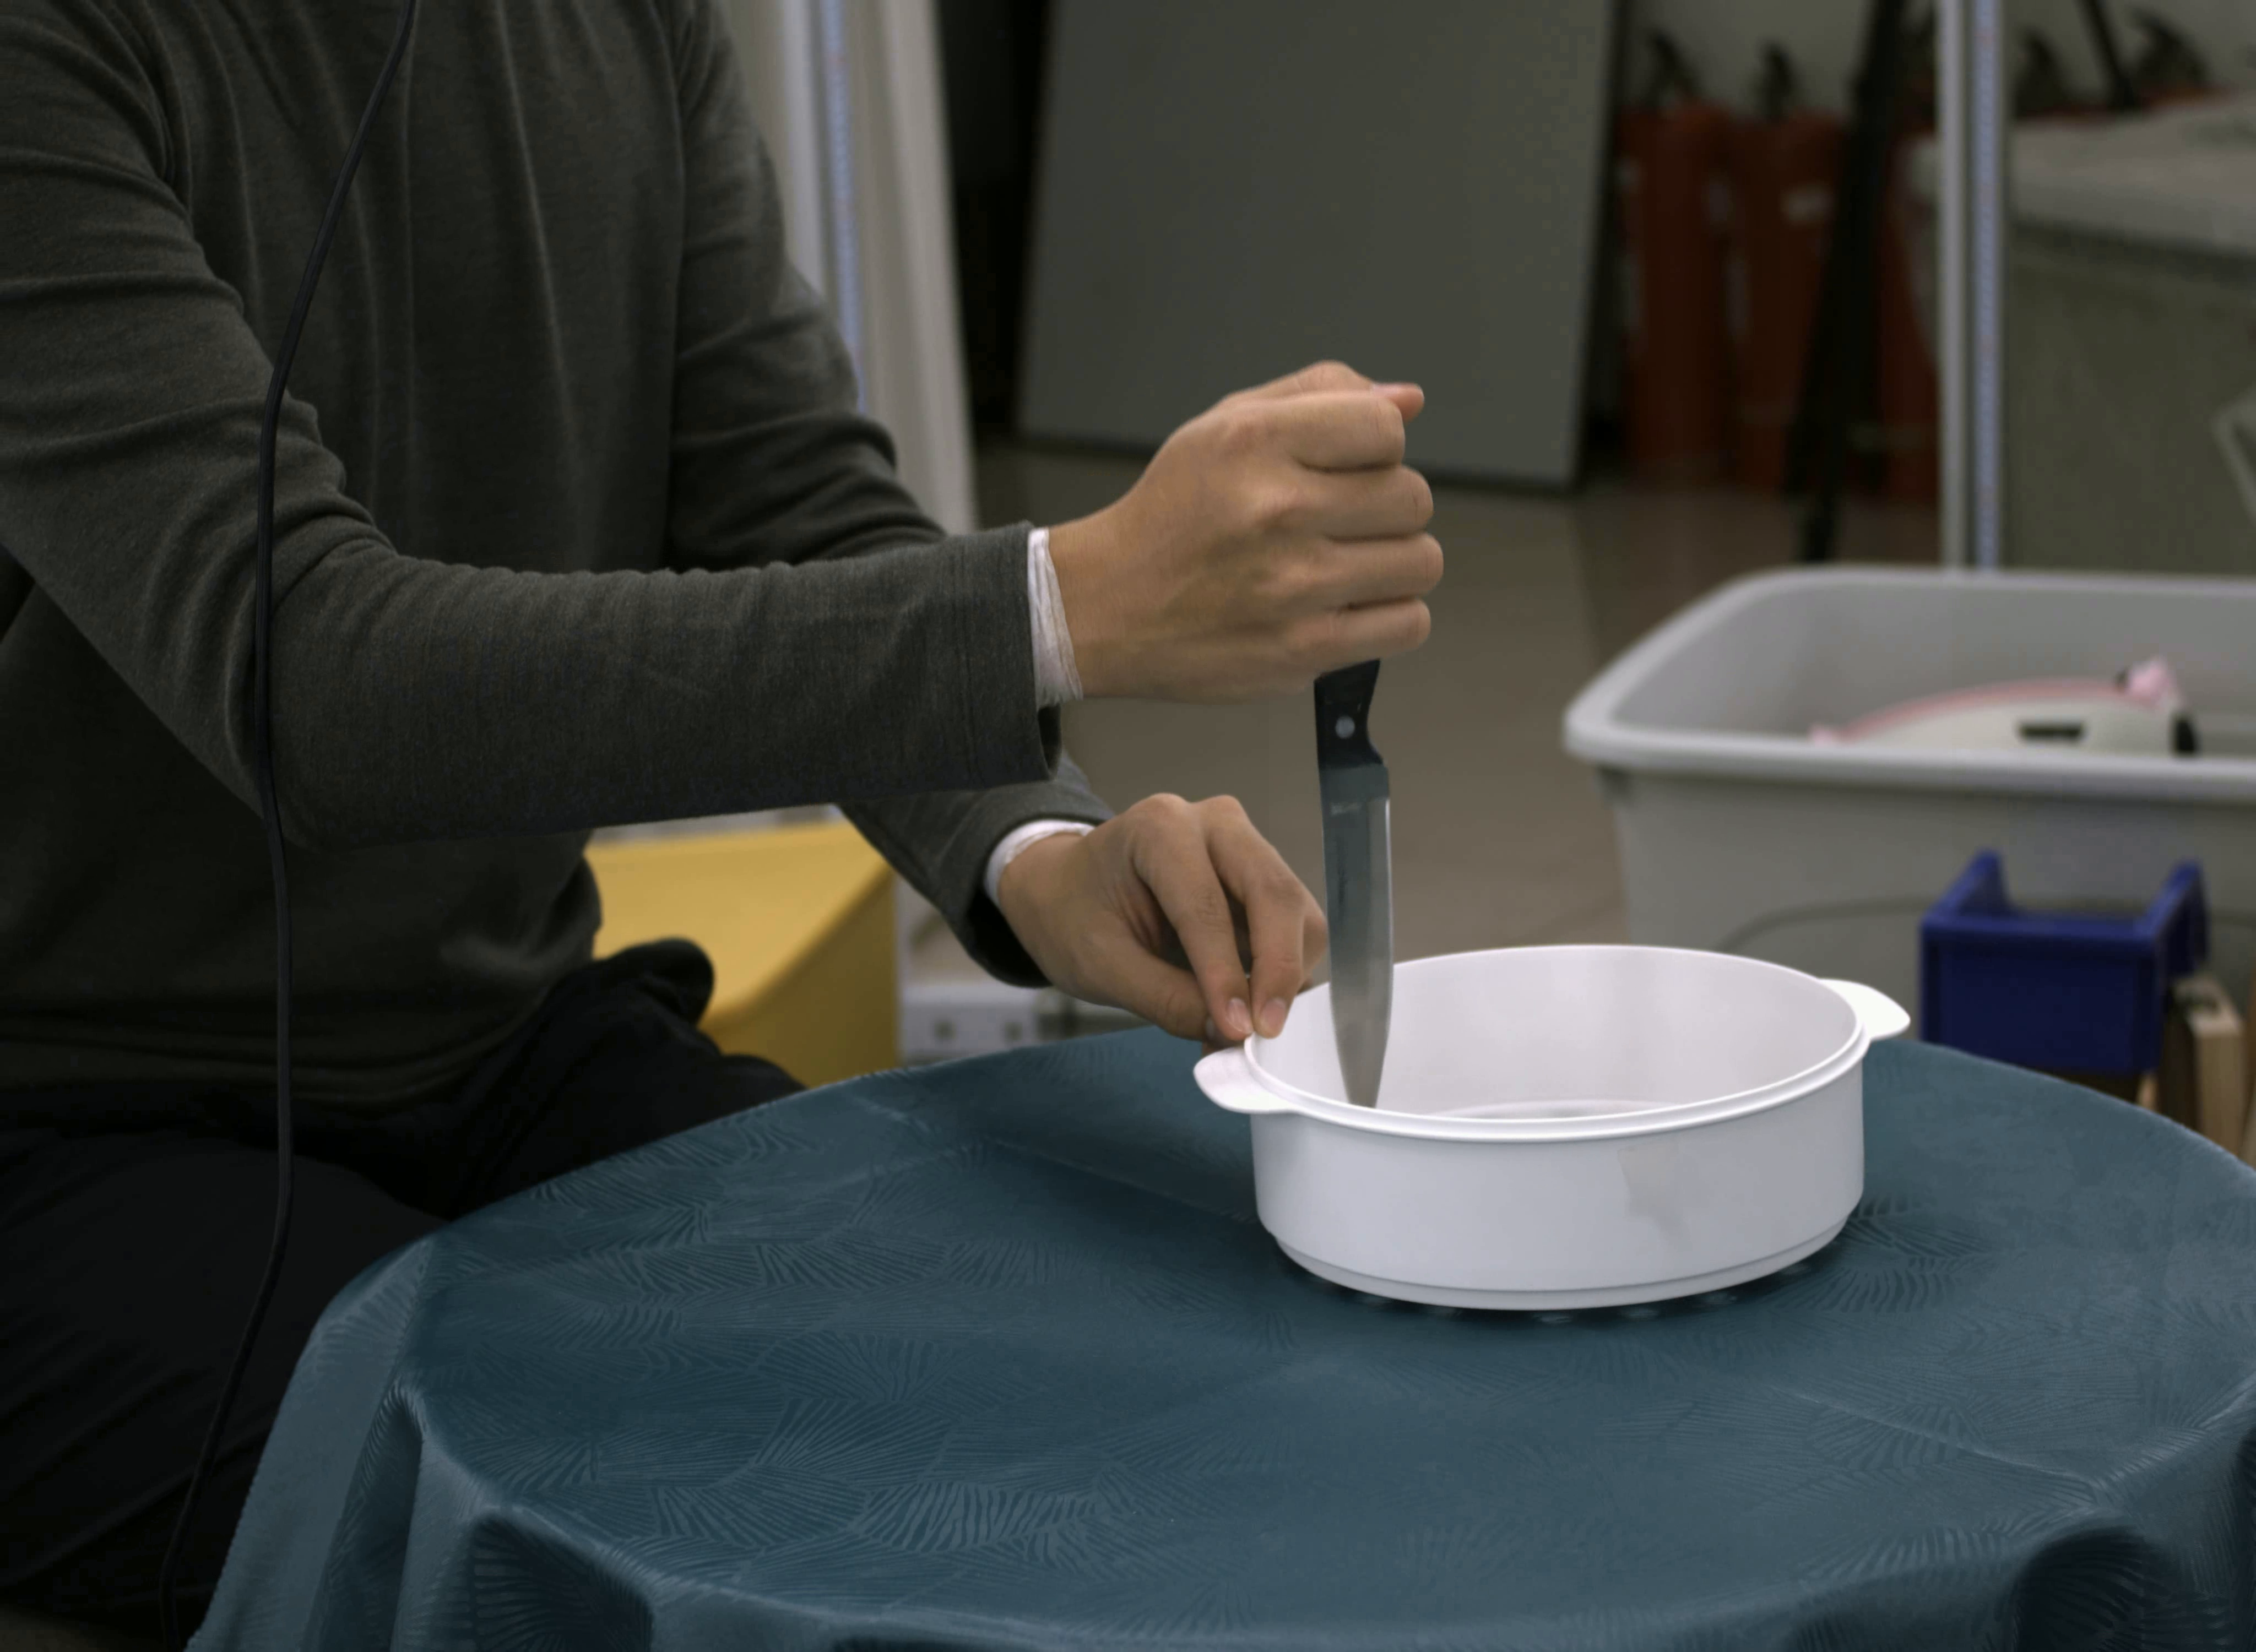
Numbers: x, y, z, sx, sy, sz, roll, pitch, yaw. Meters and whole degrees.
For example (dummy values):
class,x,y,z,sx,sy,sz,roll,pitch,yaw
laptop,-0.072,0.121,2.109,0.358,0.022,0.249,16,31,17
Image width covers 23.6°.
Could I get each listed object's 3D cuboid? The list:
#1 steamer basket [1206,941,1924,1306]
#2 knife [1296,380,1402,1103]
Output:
class,x,y,z,sx,sy,sz,roll,pitch,yaw
steamer basket,0.140,0.094,1.700,0.226,0.070,0.203,-7,13,-9
knife,0.068,-0.017,1.661,0.024,0.241,0.016,-5,14,1
